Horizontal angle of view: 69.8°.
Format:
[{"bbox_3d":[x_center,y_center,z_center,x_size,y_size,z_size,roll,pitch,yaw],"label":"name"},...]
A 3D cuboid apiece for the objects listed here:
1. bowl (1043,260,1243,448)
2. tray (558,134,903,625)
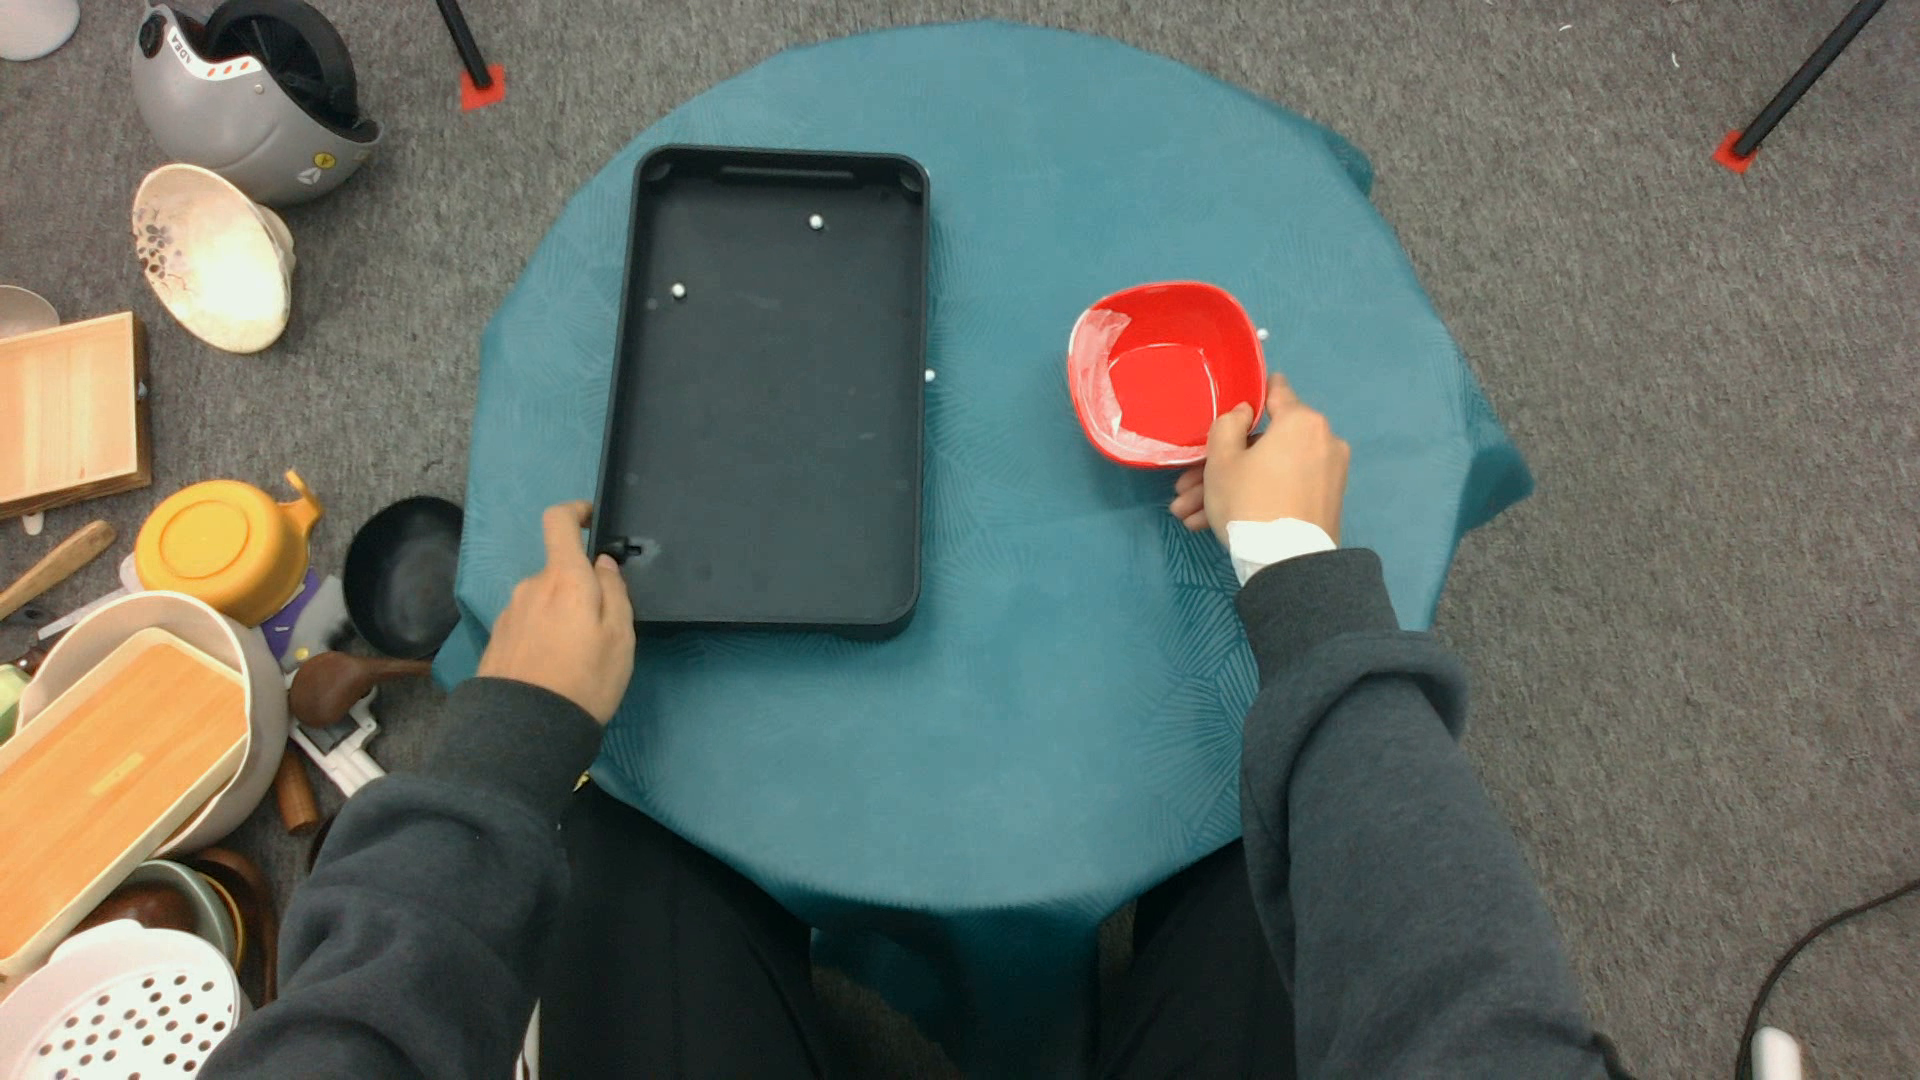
[{"bbox_3d":[0.104,-0.101,0.796,0.119,0.051,0.119,-1,75,3],"label":"bowl"},{"bbox_3d":[-0.126,-0.102,0.813,0.184,0.037,0.319,0,66,-2],"label":"tray"}]
